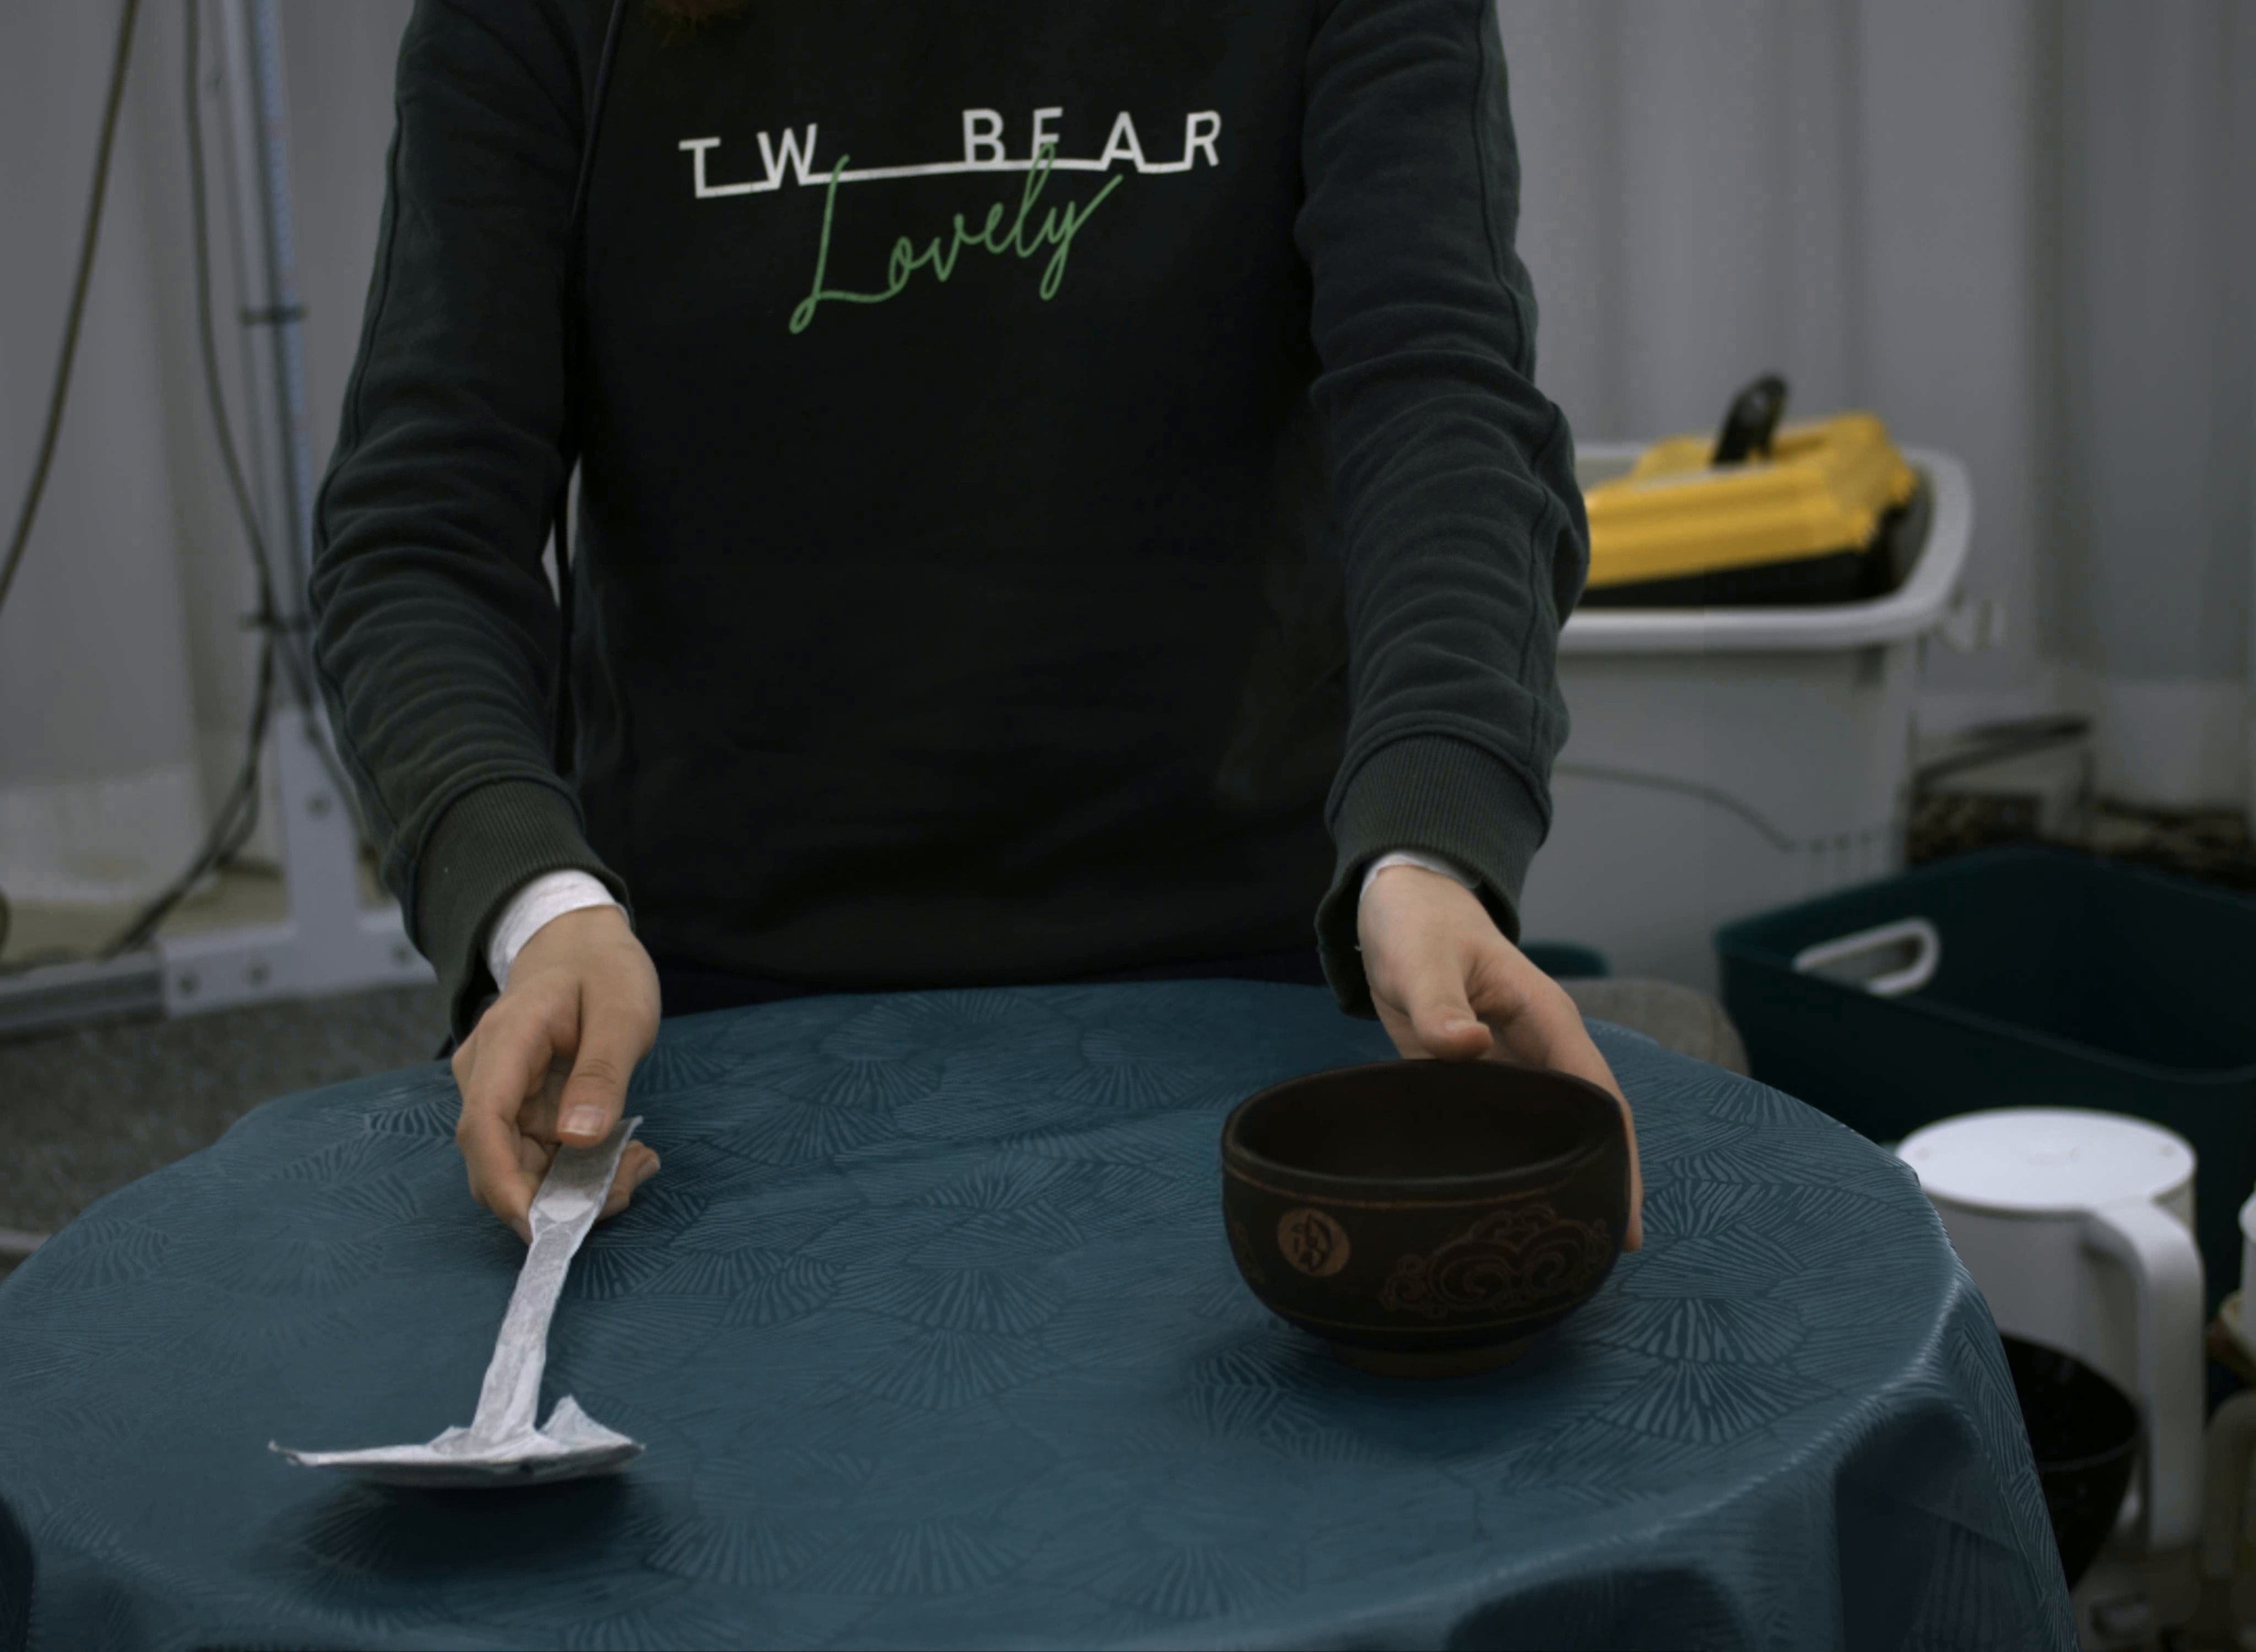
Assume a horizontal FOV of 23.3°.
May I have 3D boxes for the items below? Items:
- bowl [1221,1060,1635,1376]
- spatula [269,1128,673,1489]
[{"bbox_3d":[0.086,0.115,1.559,0.117,0.069,0.119,-2,13,0],"label":"bowl"},{"bbox_3d":[-0.169,0.132,1.599,0.098,0.044,0.367,-3,16,4],"label":"spatula"}]
